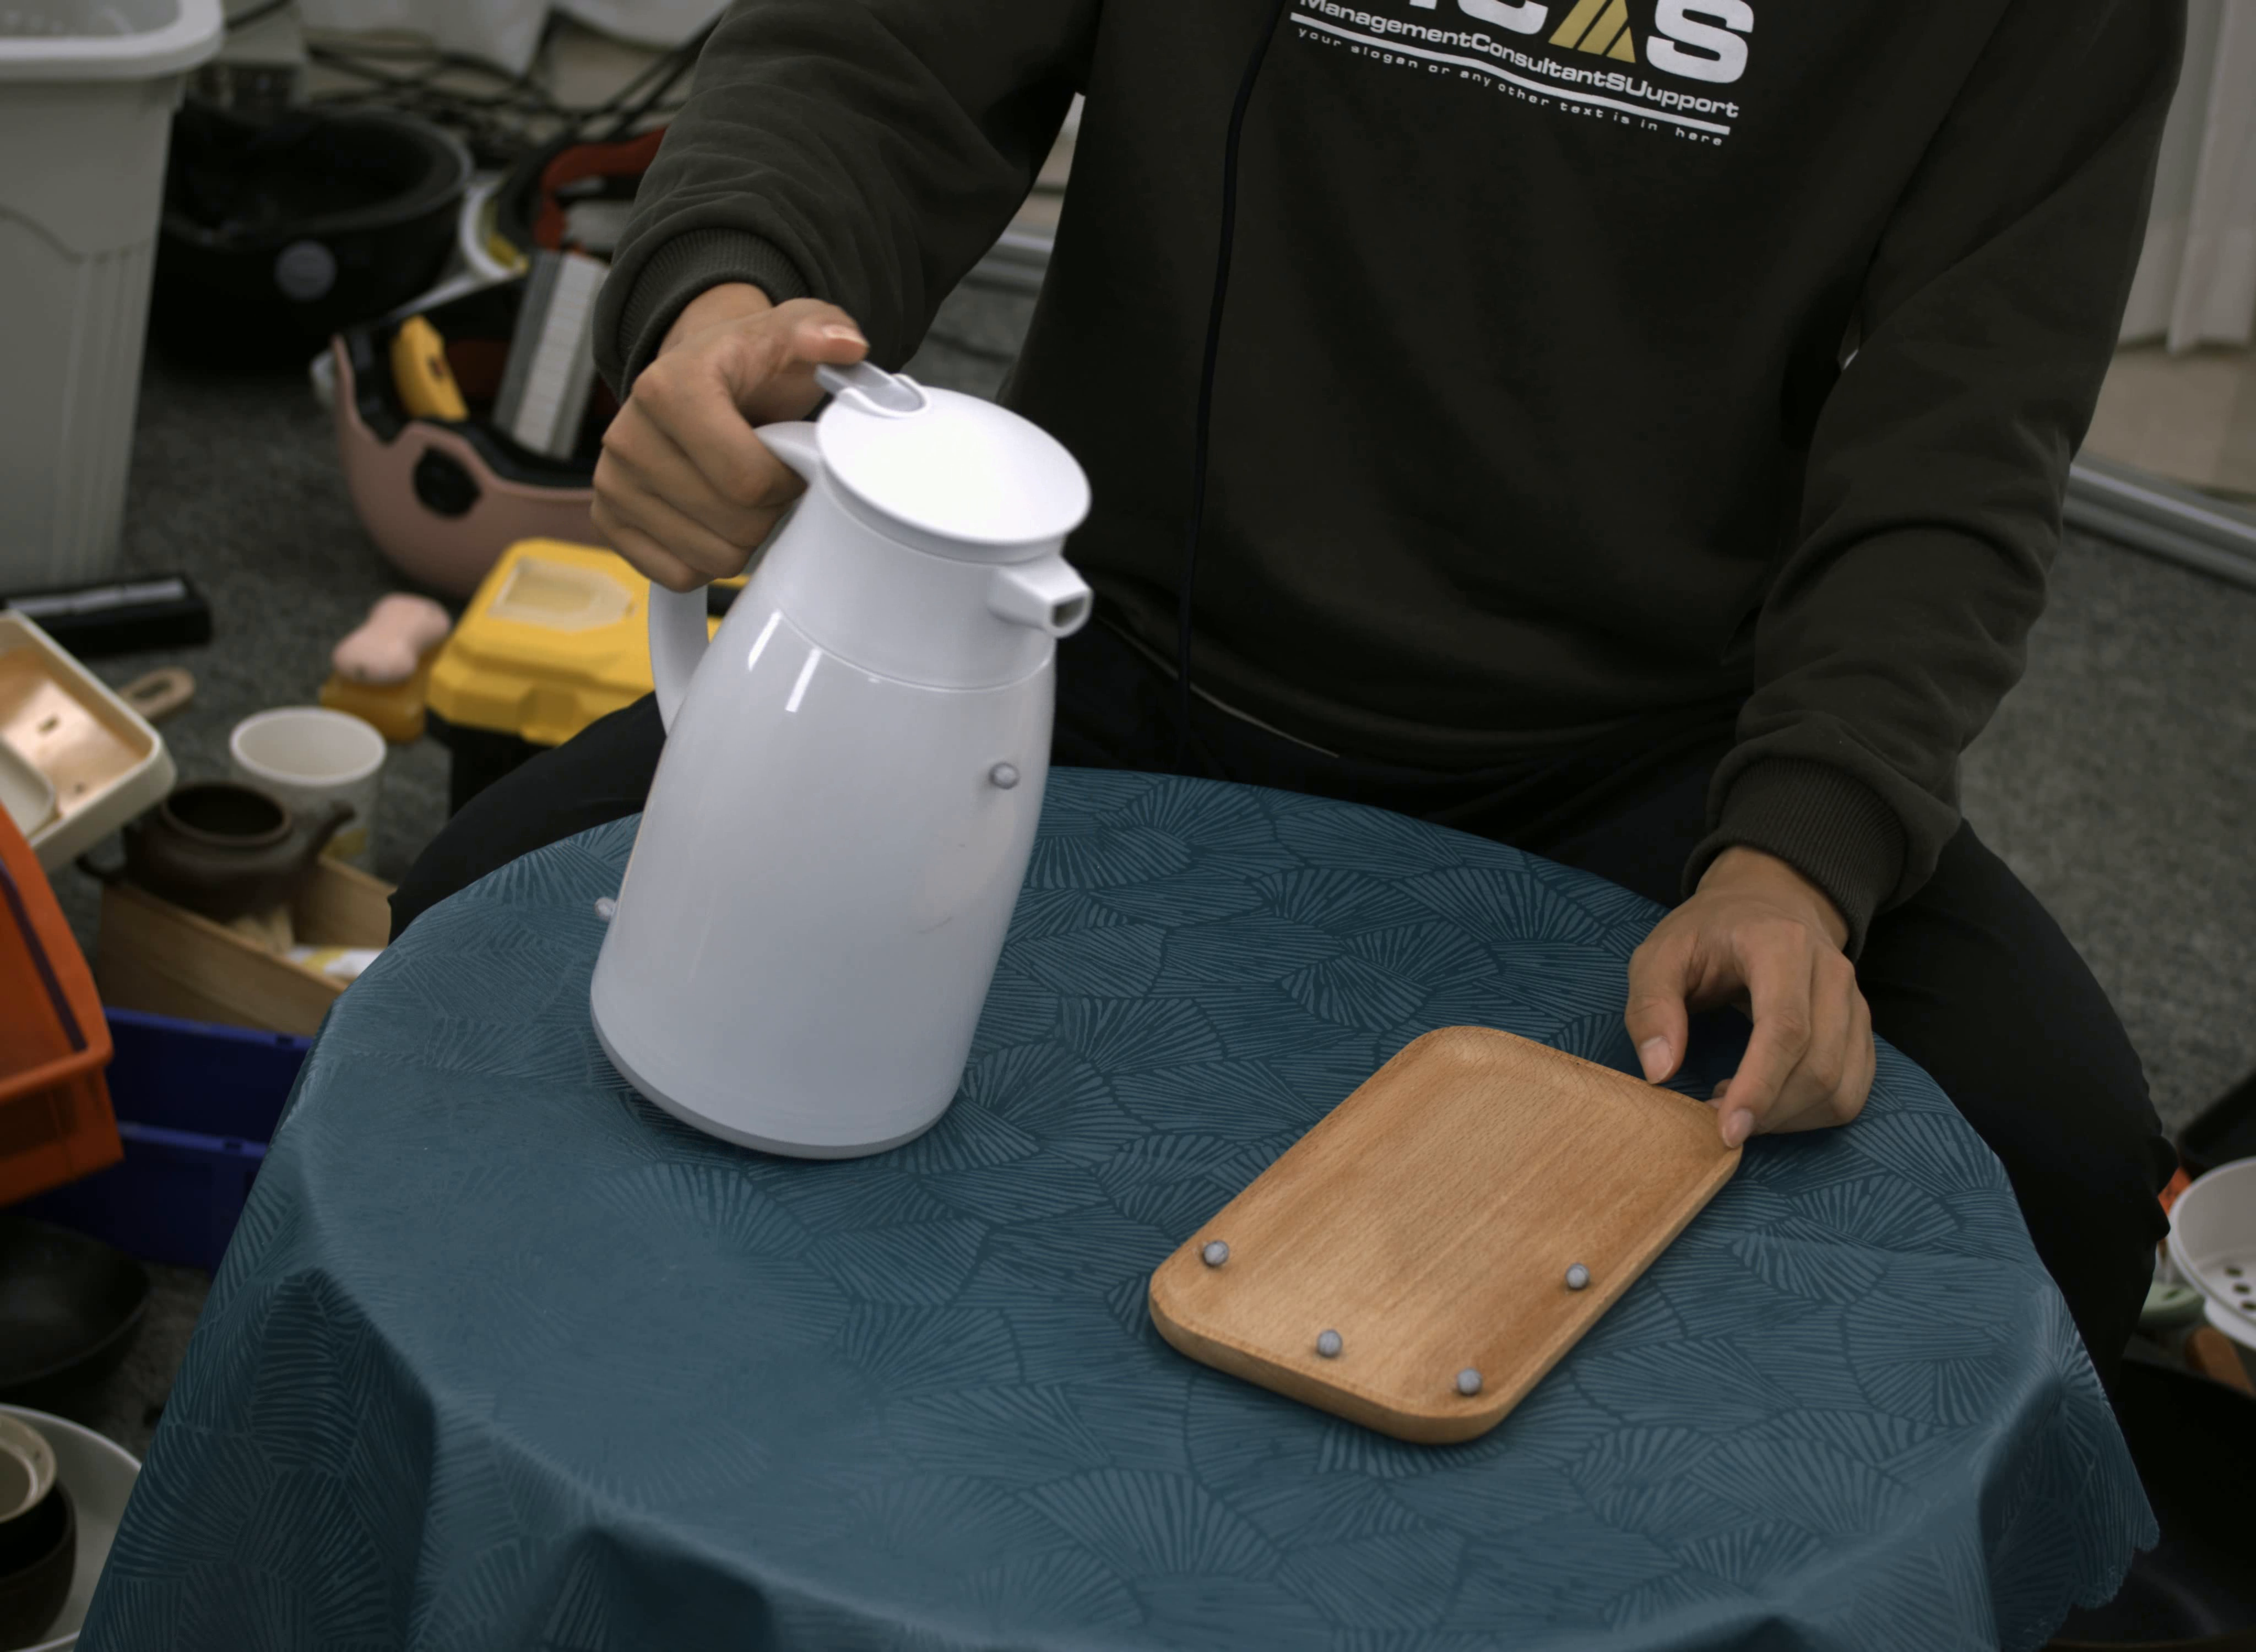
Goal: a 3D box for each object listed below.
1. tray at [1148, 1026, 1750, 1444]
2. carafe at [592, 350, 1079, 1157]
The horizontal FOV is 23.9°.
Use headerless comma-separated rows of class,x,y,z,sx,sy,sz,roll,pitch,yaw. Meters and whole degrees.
tray,0.111,0.135,1.793,0.131,0.023,0.250,22,29,22
carafe,-0.104,-0.035,1.790,0.169,0.248,0.132,37,37,29
